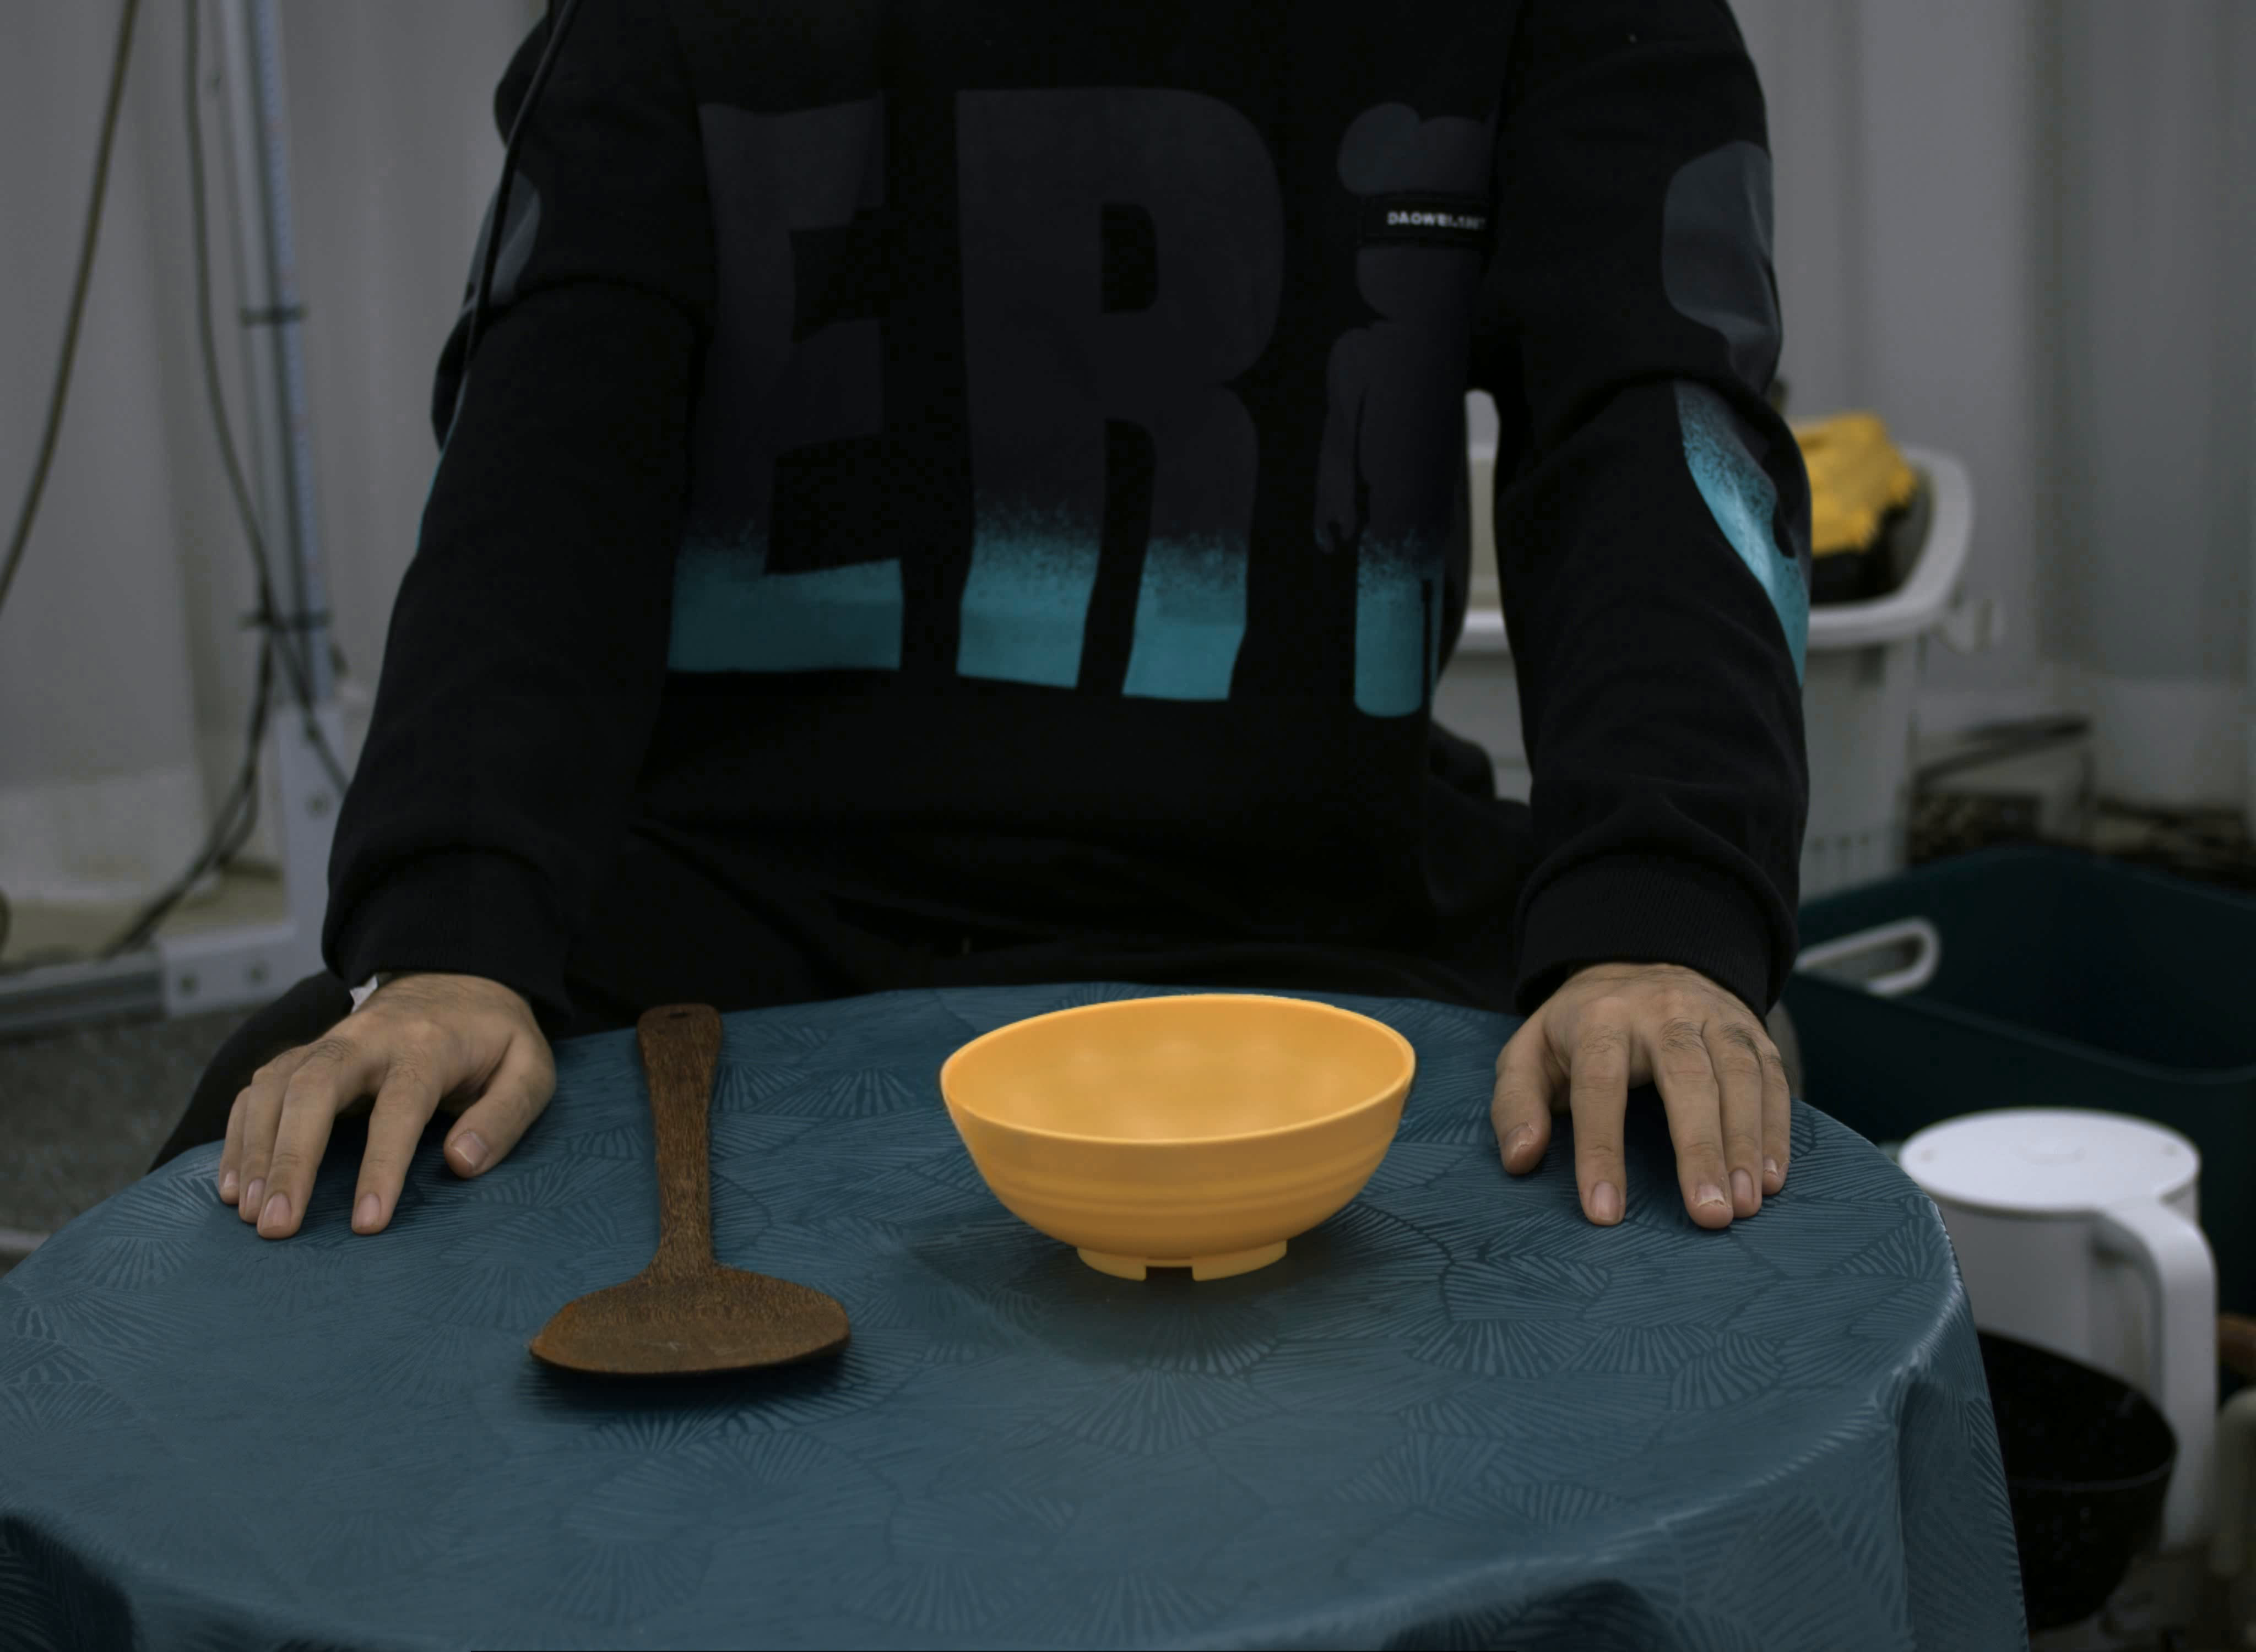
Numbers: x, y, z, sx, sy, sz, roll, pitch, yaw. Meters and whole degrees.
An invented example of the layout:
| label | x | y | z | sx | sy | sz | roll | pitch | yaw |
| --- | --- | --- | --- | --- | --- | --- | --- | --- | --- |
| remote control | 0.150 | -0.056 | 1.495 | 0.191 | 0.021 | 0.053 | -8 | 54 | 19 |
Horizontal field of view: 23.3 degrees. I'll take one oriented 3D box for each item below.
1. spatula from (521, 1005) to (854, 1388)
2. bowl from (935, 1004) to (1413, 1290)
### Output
| label | x | y | z | sx | sy | sz | roll | pitch | yaw |
| --- | --- | --- | --- | --- | --- | --- | --- | --- | --- |
| spatula | -0.141 | 0.111 | 1.730 | 0.096 | 0.016 | 0.389 | -3 | 15 | -5 |
| bowl | 0.014 | 0.102 | 1.654 | 0.145 | 0.060 | 0.146 | 0 | 14 | 0 |
